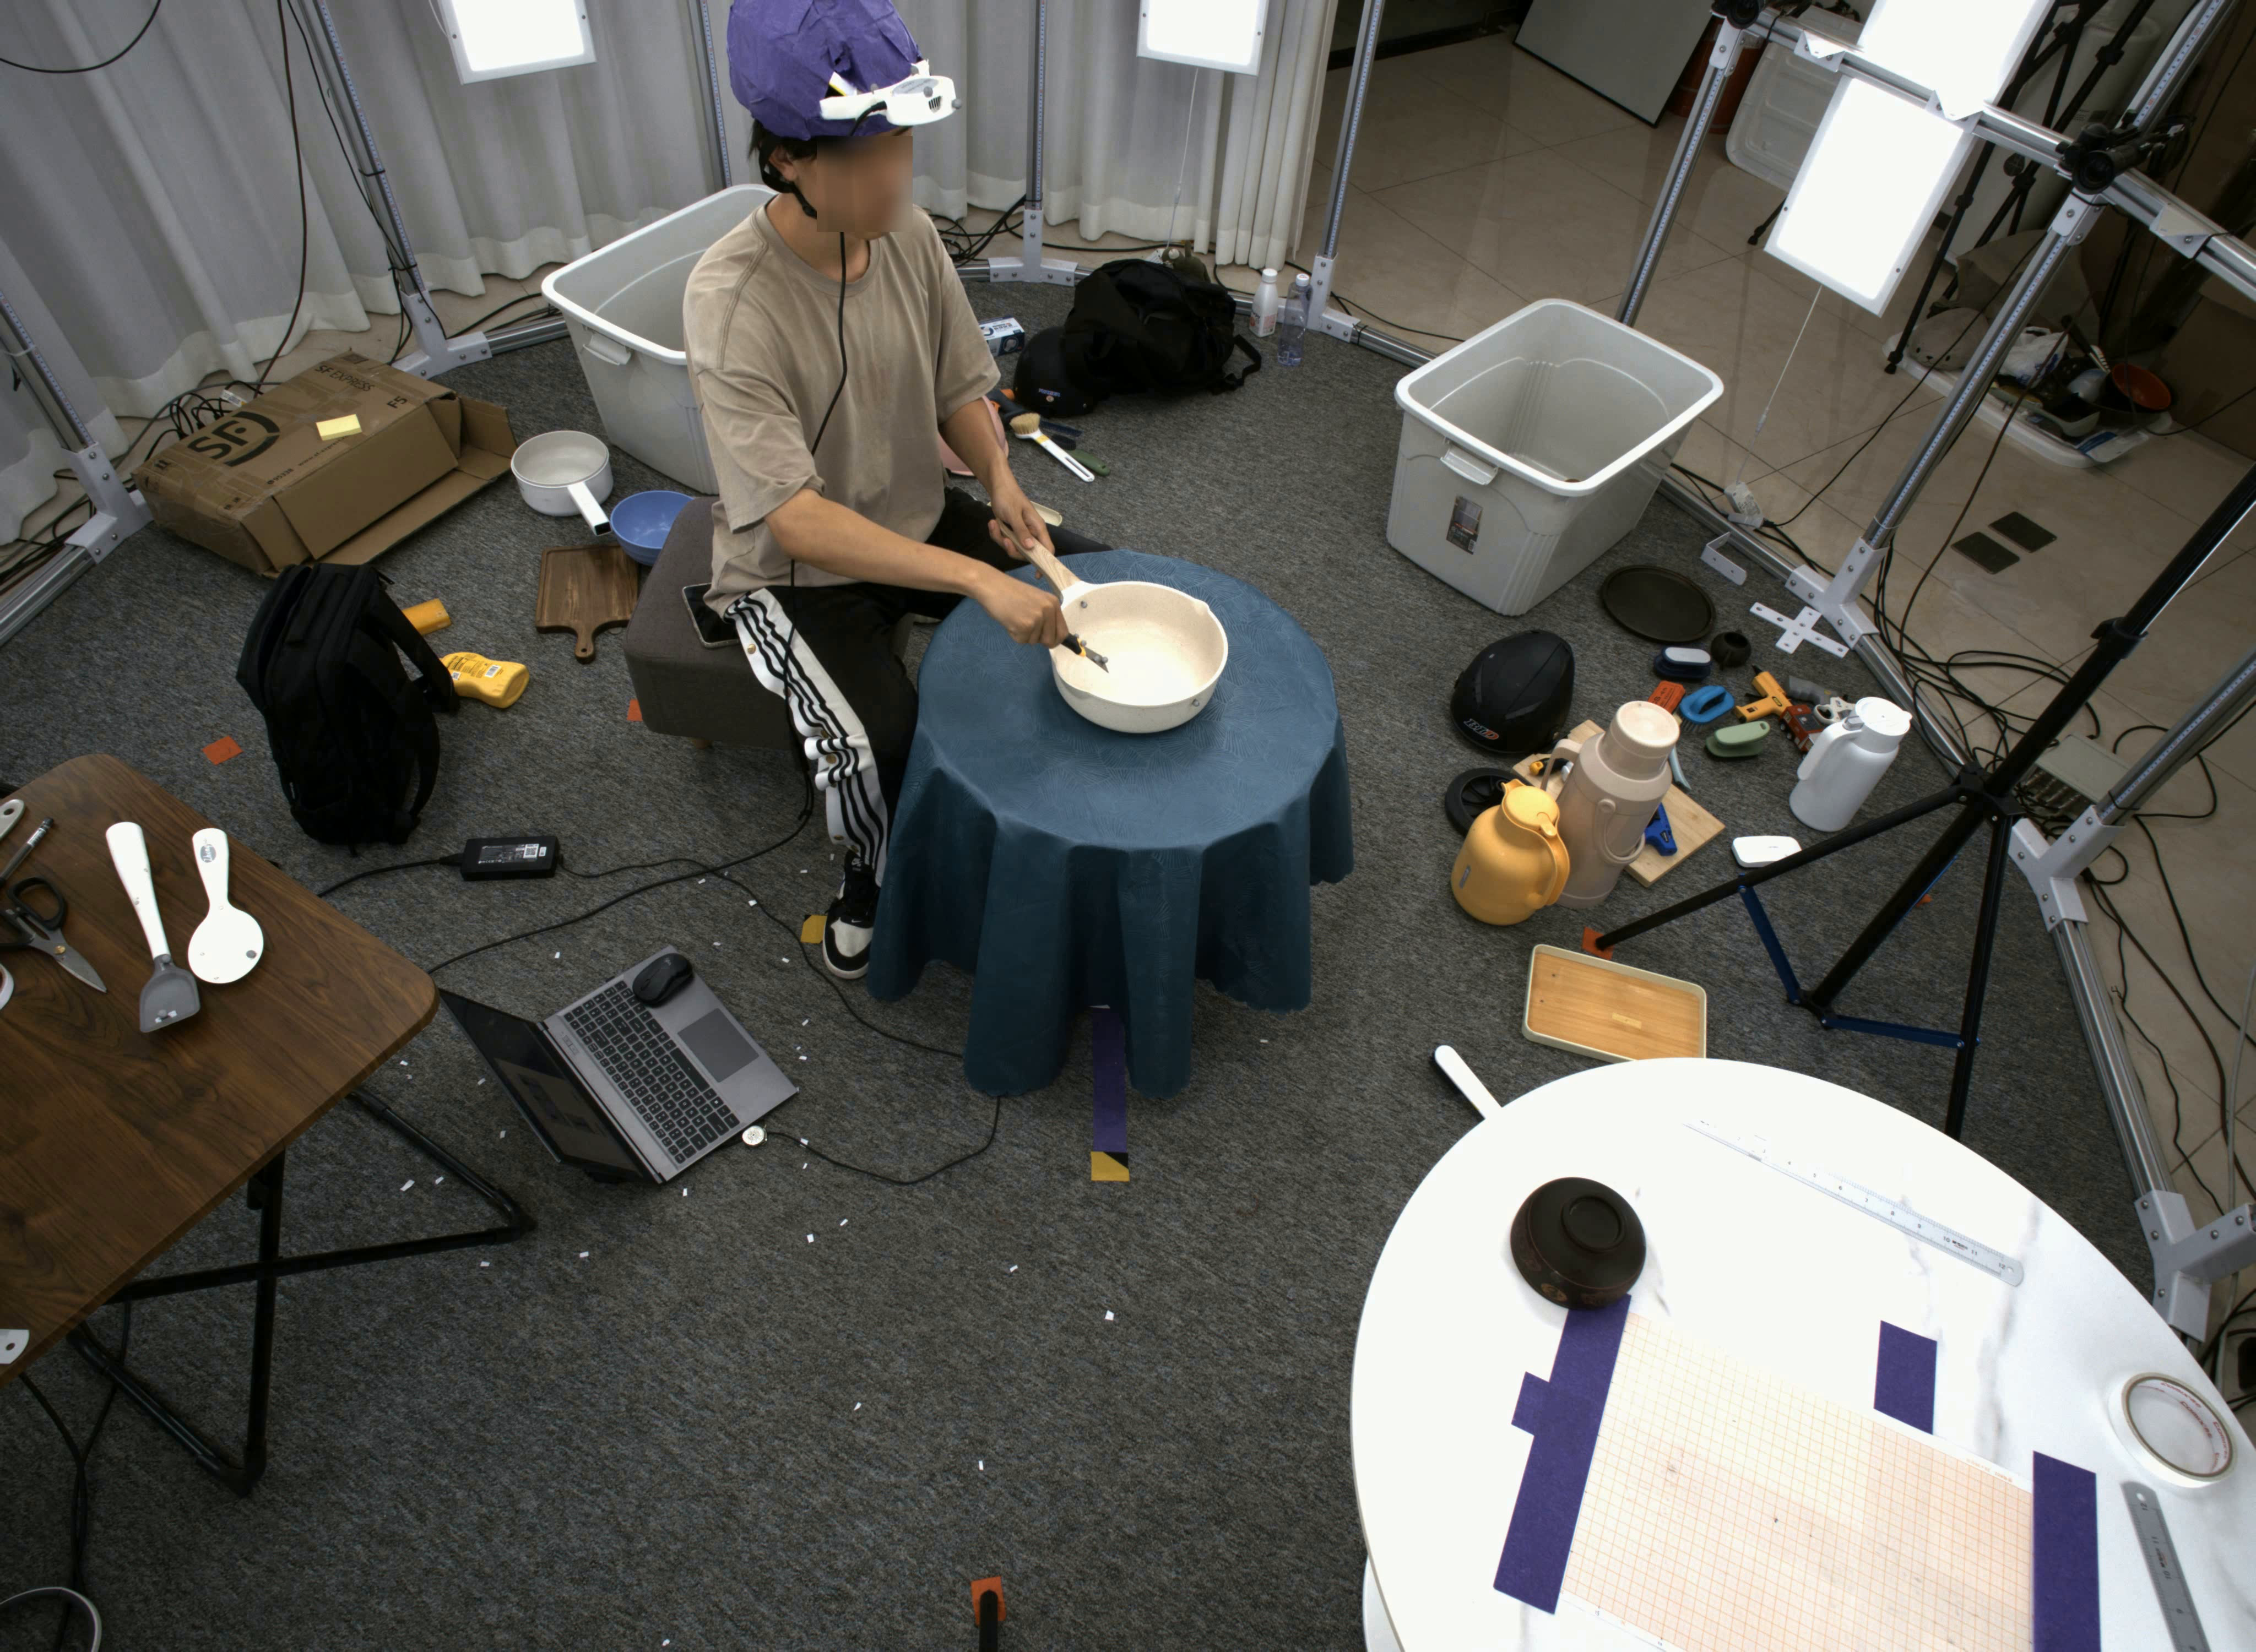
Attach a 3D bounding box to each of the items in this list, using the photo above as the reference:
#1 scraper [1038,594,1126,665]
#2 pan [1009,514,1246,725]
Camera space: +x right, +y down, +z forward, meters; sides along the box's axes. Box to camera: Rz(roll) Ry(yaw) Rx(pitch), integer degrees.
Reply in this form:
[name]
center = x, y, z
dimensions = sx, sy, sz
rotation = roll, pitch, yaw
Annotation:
[scraper]
center = -0.059, -0.261, 1.703
dimensions = 0.168, 0.015, 0.040
rotation = 28, 37, -45
[pan]
center = -0.024, -0.303, 1.855
dimensions = 0.265, 0.099, 0.442
rotation = -33, 59, -27
